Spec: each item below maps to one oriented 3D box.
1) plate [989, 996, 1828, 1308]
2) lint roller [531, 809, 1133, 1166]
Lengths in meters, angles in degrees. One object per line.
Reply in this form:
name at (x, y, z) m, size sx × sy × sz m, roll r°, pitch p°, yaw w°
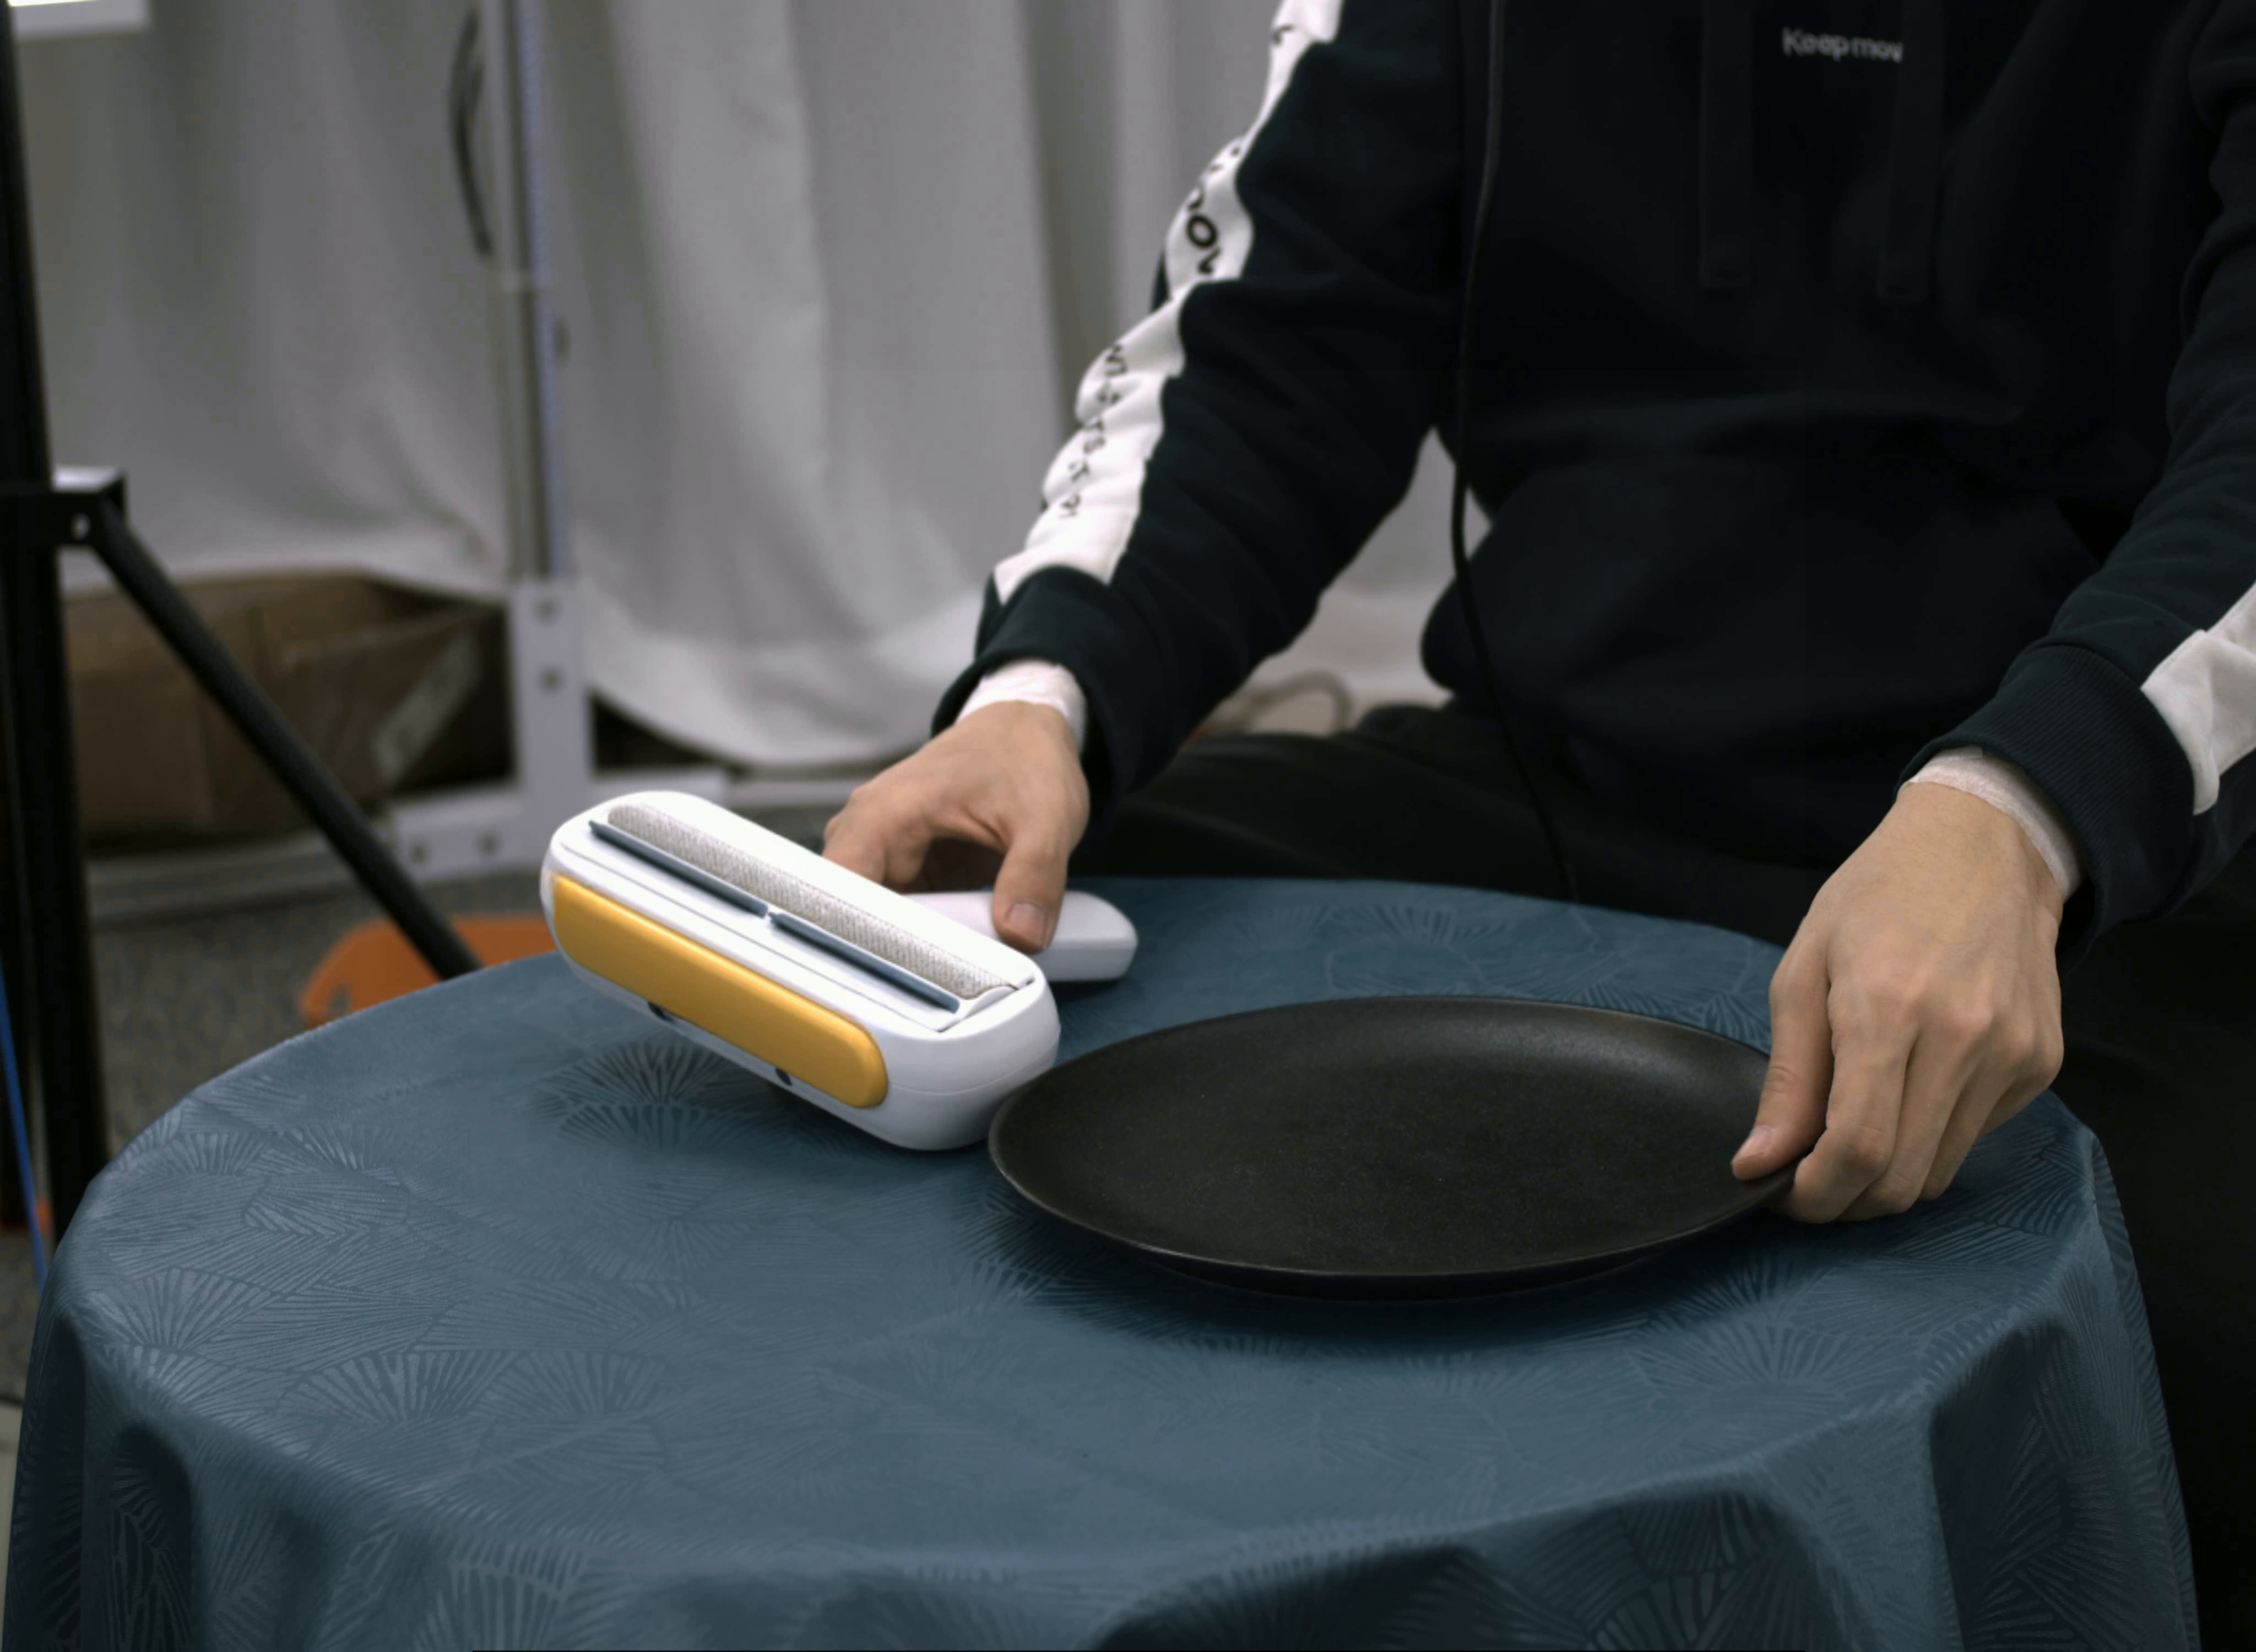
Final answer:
plate at (0.081, 0.097, 1.540) m, size 0.243 × 0.023 × 0.245 m, roll -3°, pitch 16°, yaw 0°
lint roller at (-0.070, 0.056, 1.697) m, size 0.187 × 0.074 × 0.197 m, roll 2°, pitch 16°, yaw -44°
